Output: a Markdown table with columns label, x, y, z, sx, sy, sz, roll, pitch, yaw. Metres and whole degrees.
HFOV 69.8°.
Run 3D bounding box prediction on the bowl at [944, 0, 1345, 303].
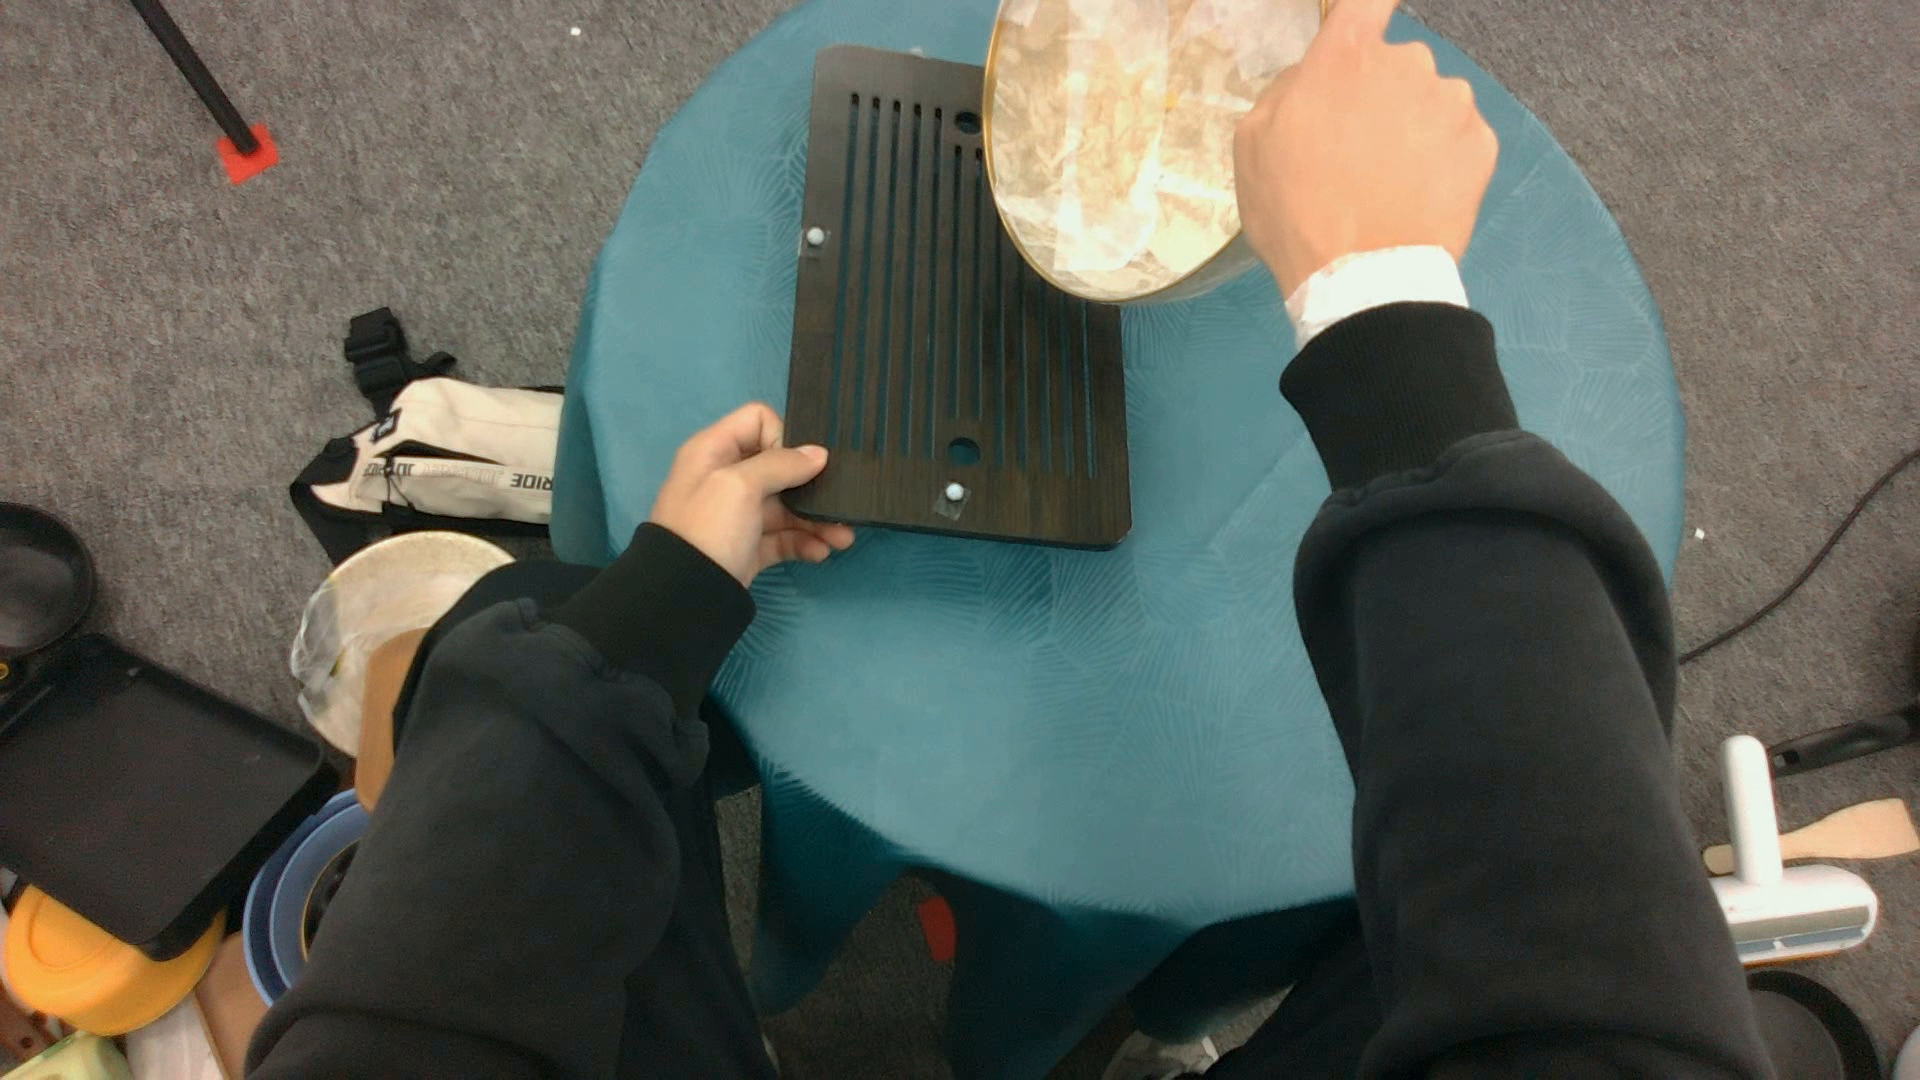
| label | x | y | z | sx | sy | sz | roll | pitch | yaw |
| --- | --- | --- | --- | --- | --- | --- | --- | --- | --- |
| bowl | 0.097 | -0.211 | 0.636 | 0.095 | 0.213 | 0.215 | -1 | 64 | -43 |

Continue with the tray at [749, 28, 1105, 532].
| label | x | y | z | sx | sy | sz | roll | pitch | yaw |
| --- | --- | --- | --- | --- | --- | --- | --- | --- | --- |
| tray | -0.015 | -0.143 | 0.716 | 0.170 | 0.018 | 0.307 | 6 | 61 | -11 |
